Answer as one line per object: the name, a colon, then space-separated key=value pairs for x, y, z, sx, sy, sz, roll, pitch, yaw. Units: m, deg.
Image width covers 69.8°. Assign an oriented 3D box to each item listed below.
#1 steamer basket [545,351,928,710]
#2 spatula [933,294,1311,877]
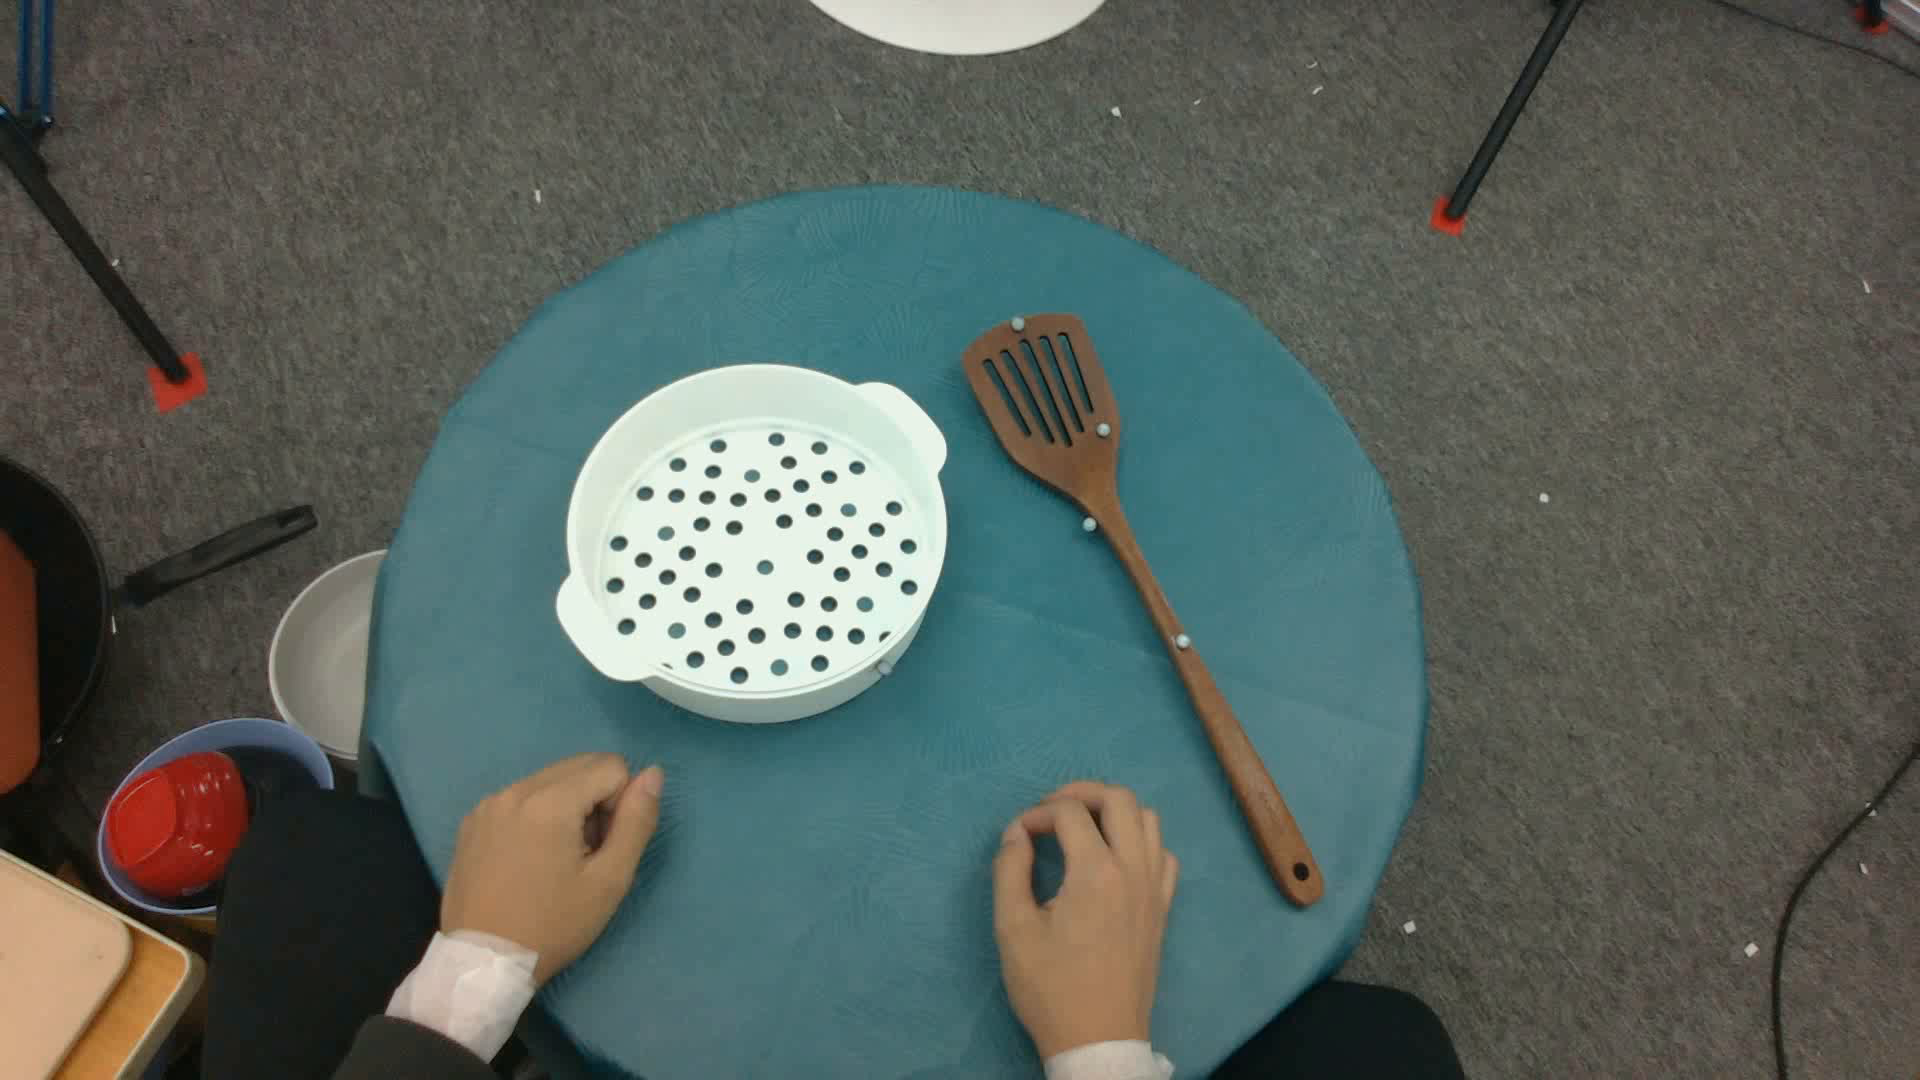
steamer basket: x=-0.118 y=-0.005 z=0.767 sx=0.231 sy=0.069 sz=0.202 roll=-39 pitch=72 yaw=-18
spatula: x=0.099 y=0.018 z=0.802 sx=0.086 sy=0.023 sz=0.386 roll=-23 pitch=70 yaw=-14
